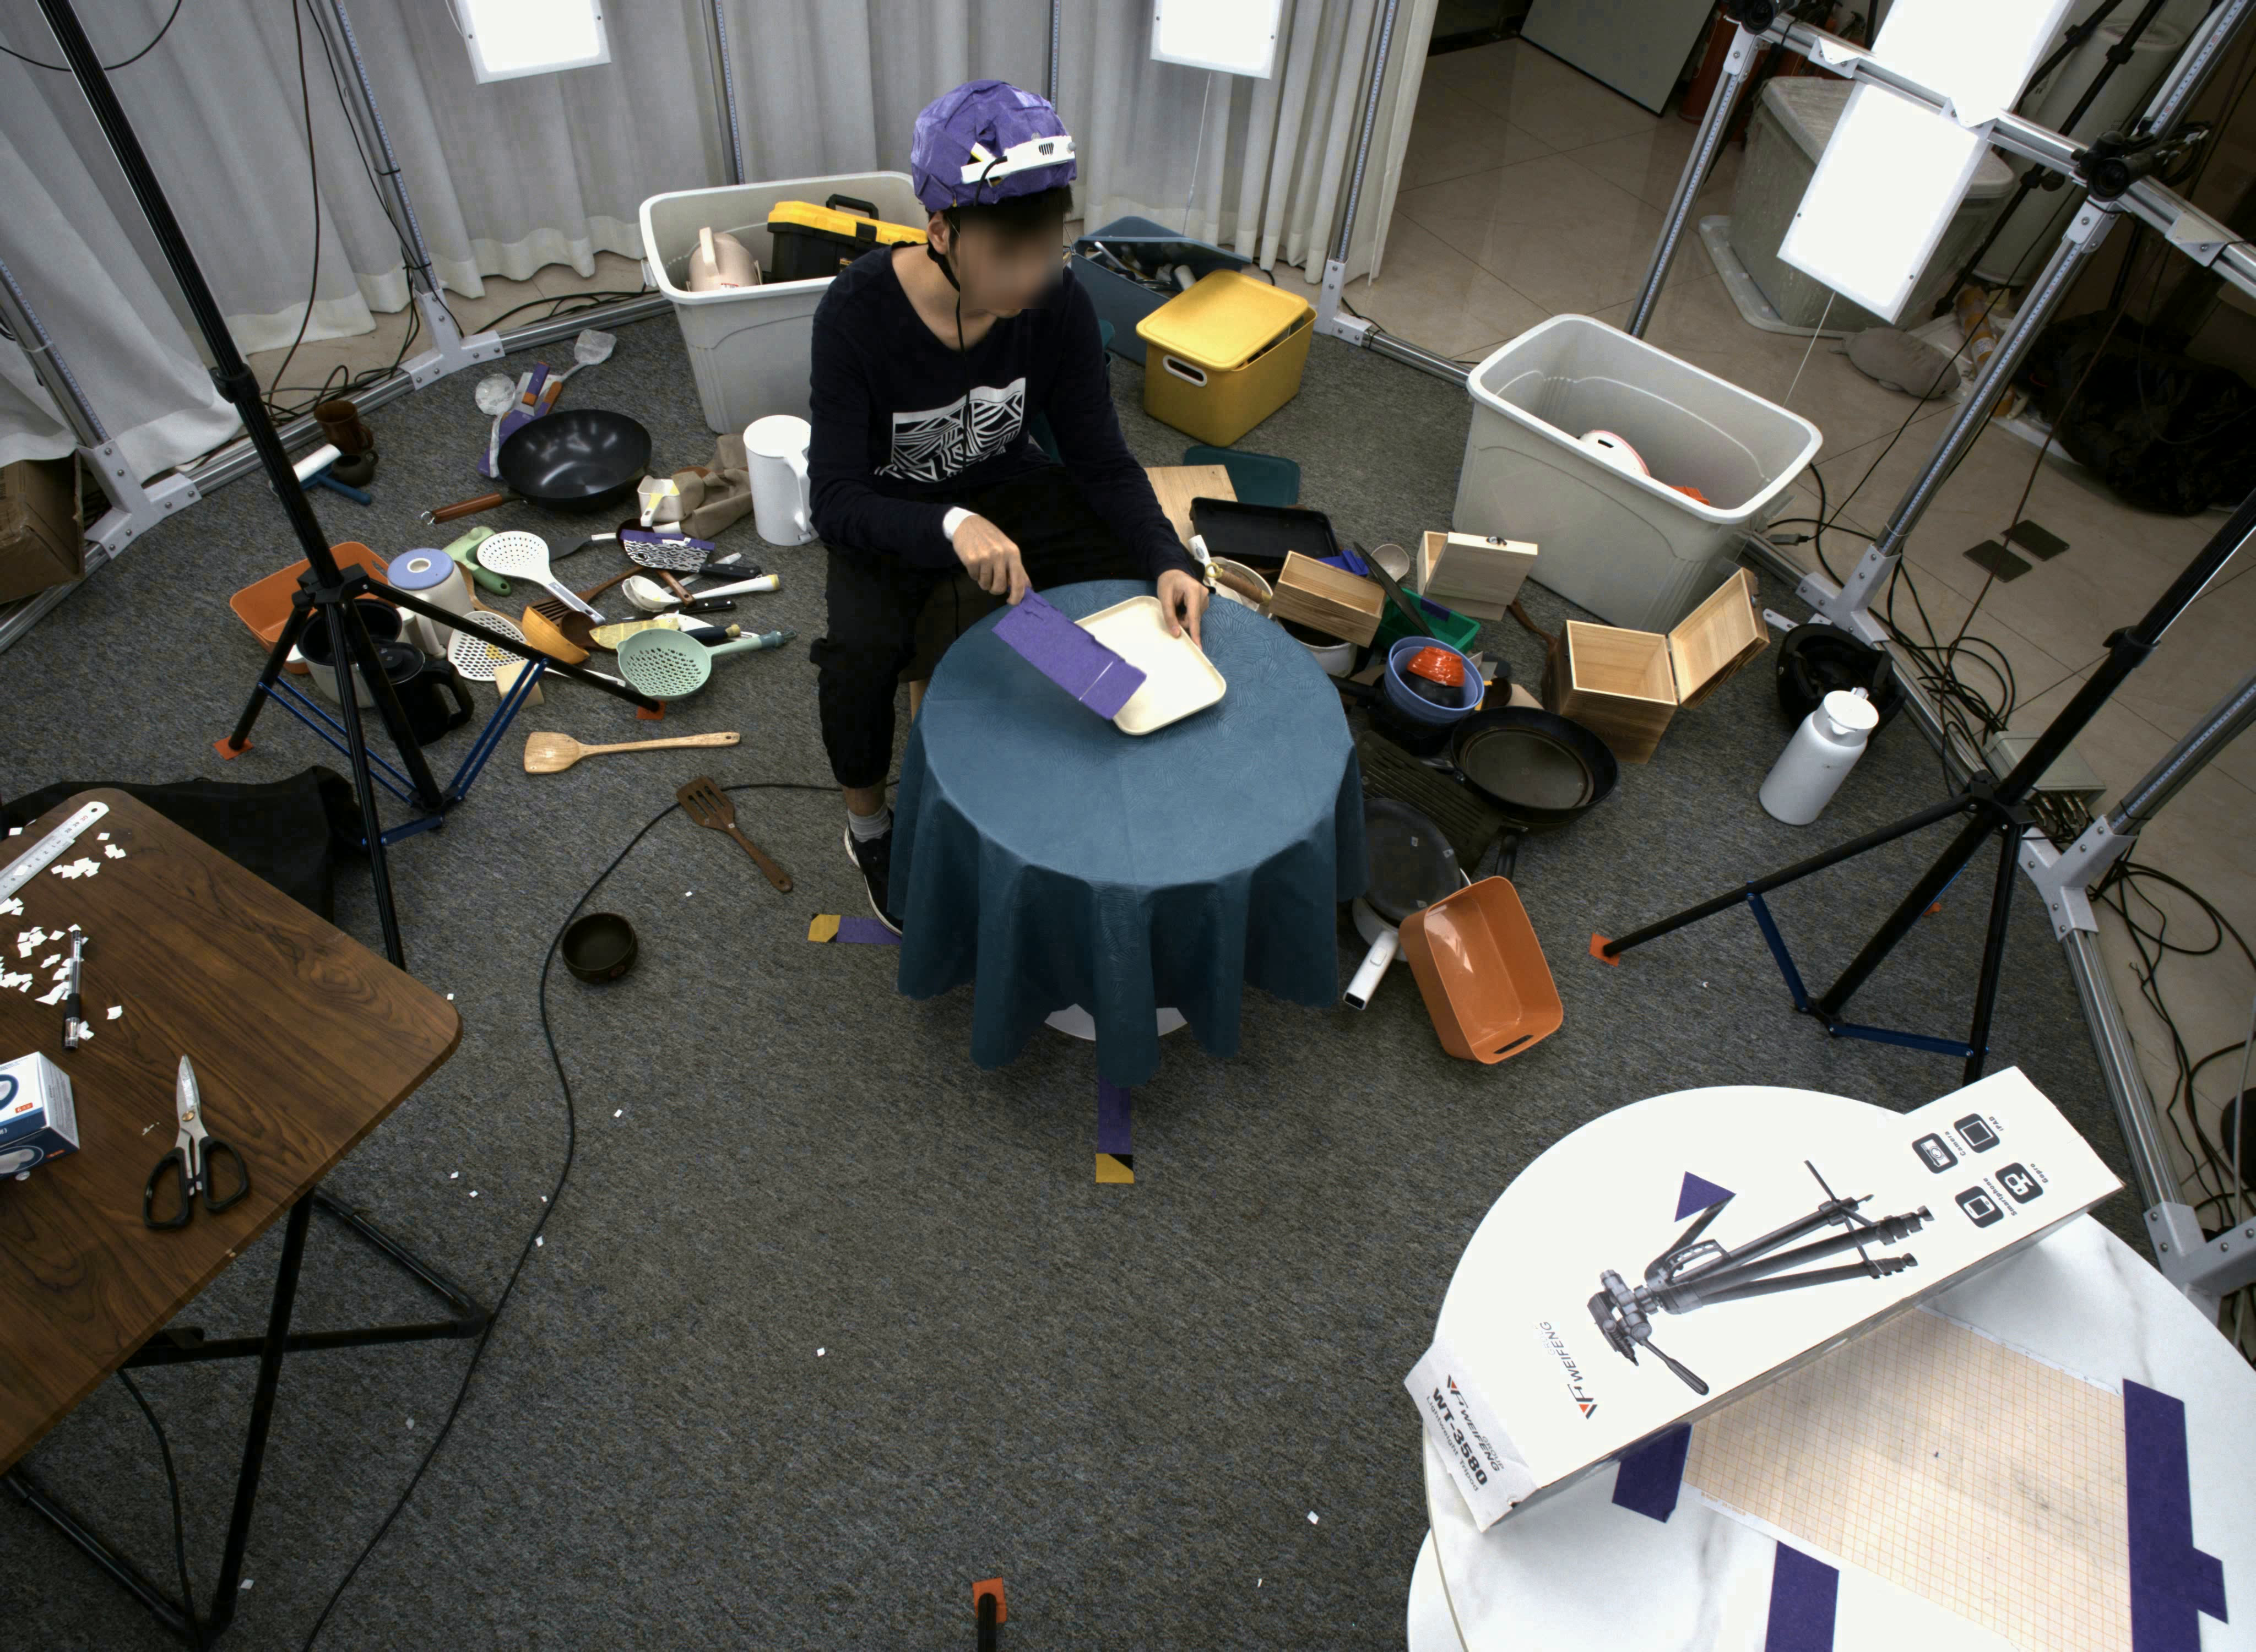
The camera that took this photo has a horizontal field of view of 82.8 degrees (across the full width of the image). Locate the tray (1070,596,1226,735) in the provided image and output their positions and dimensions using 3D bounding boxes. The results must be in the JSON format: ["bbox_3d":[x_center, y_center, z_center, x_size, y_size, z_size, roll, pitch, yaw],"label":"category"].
[{"bbox_3d":[0.019,-0.233,1.848,0.172,0.017,0.245,-24,55,-14],"label":"tray"}]

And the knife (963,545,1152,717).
[{"bbox_3d":[-0.117,-0.268,1.765,0.317,0.031,0.105,37,63,11],"label":"knife"}]
